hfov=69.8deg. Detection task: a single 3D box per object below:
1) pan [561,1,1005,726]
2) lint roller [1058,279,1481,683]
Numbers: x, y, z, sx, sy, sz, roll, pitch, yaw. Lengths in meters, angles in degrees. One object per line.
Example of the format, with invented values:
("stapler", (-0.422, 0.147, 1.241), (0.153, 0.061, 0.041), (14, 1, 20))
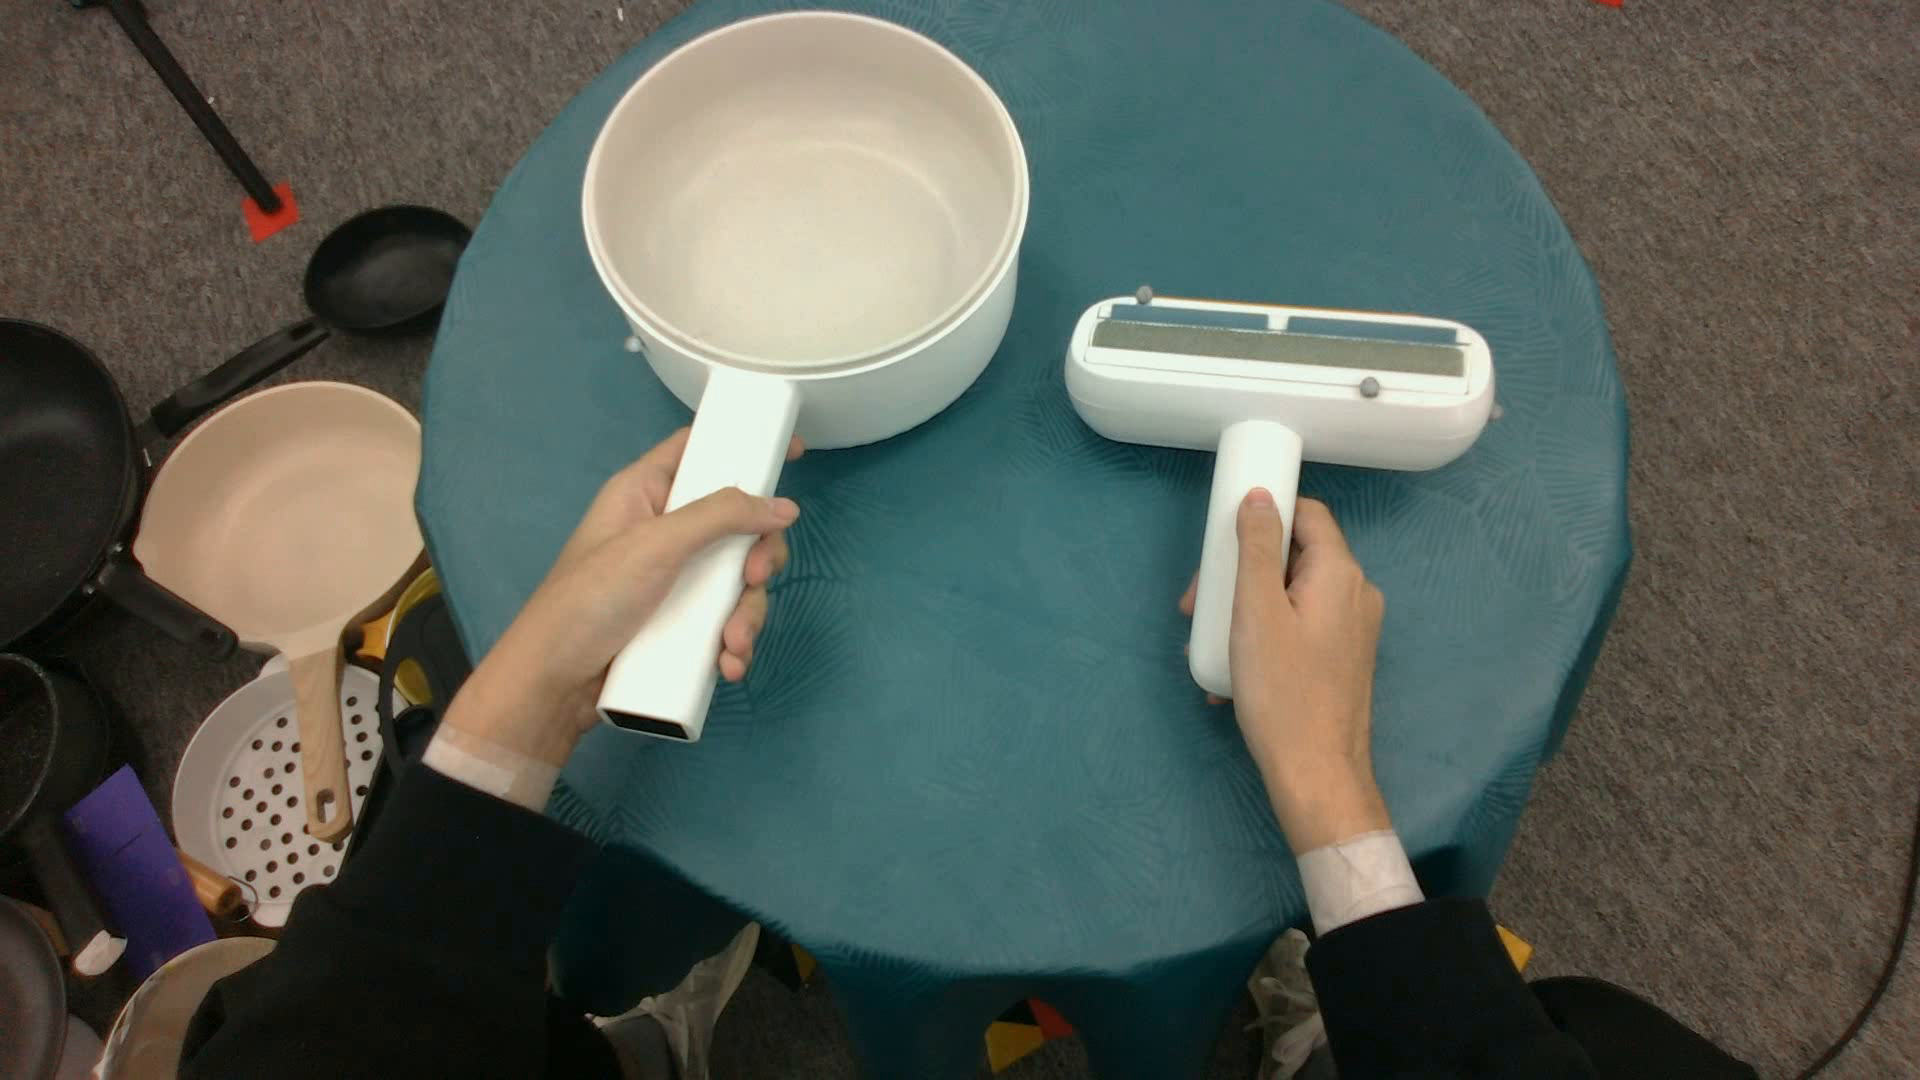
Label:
("pan", (-0.095, -0.080, 0.633), (0.201, 0.102, 0.356), (10, 67, 4))
("lint roller", (0.126, -0.030, 0.623), (0.193, 0.074, 0.193), (12, 60, 11))
